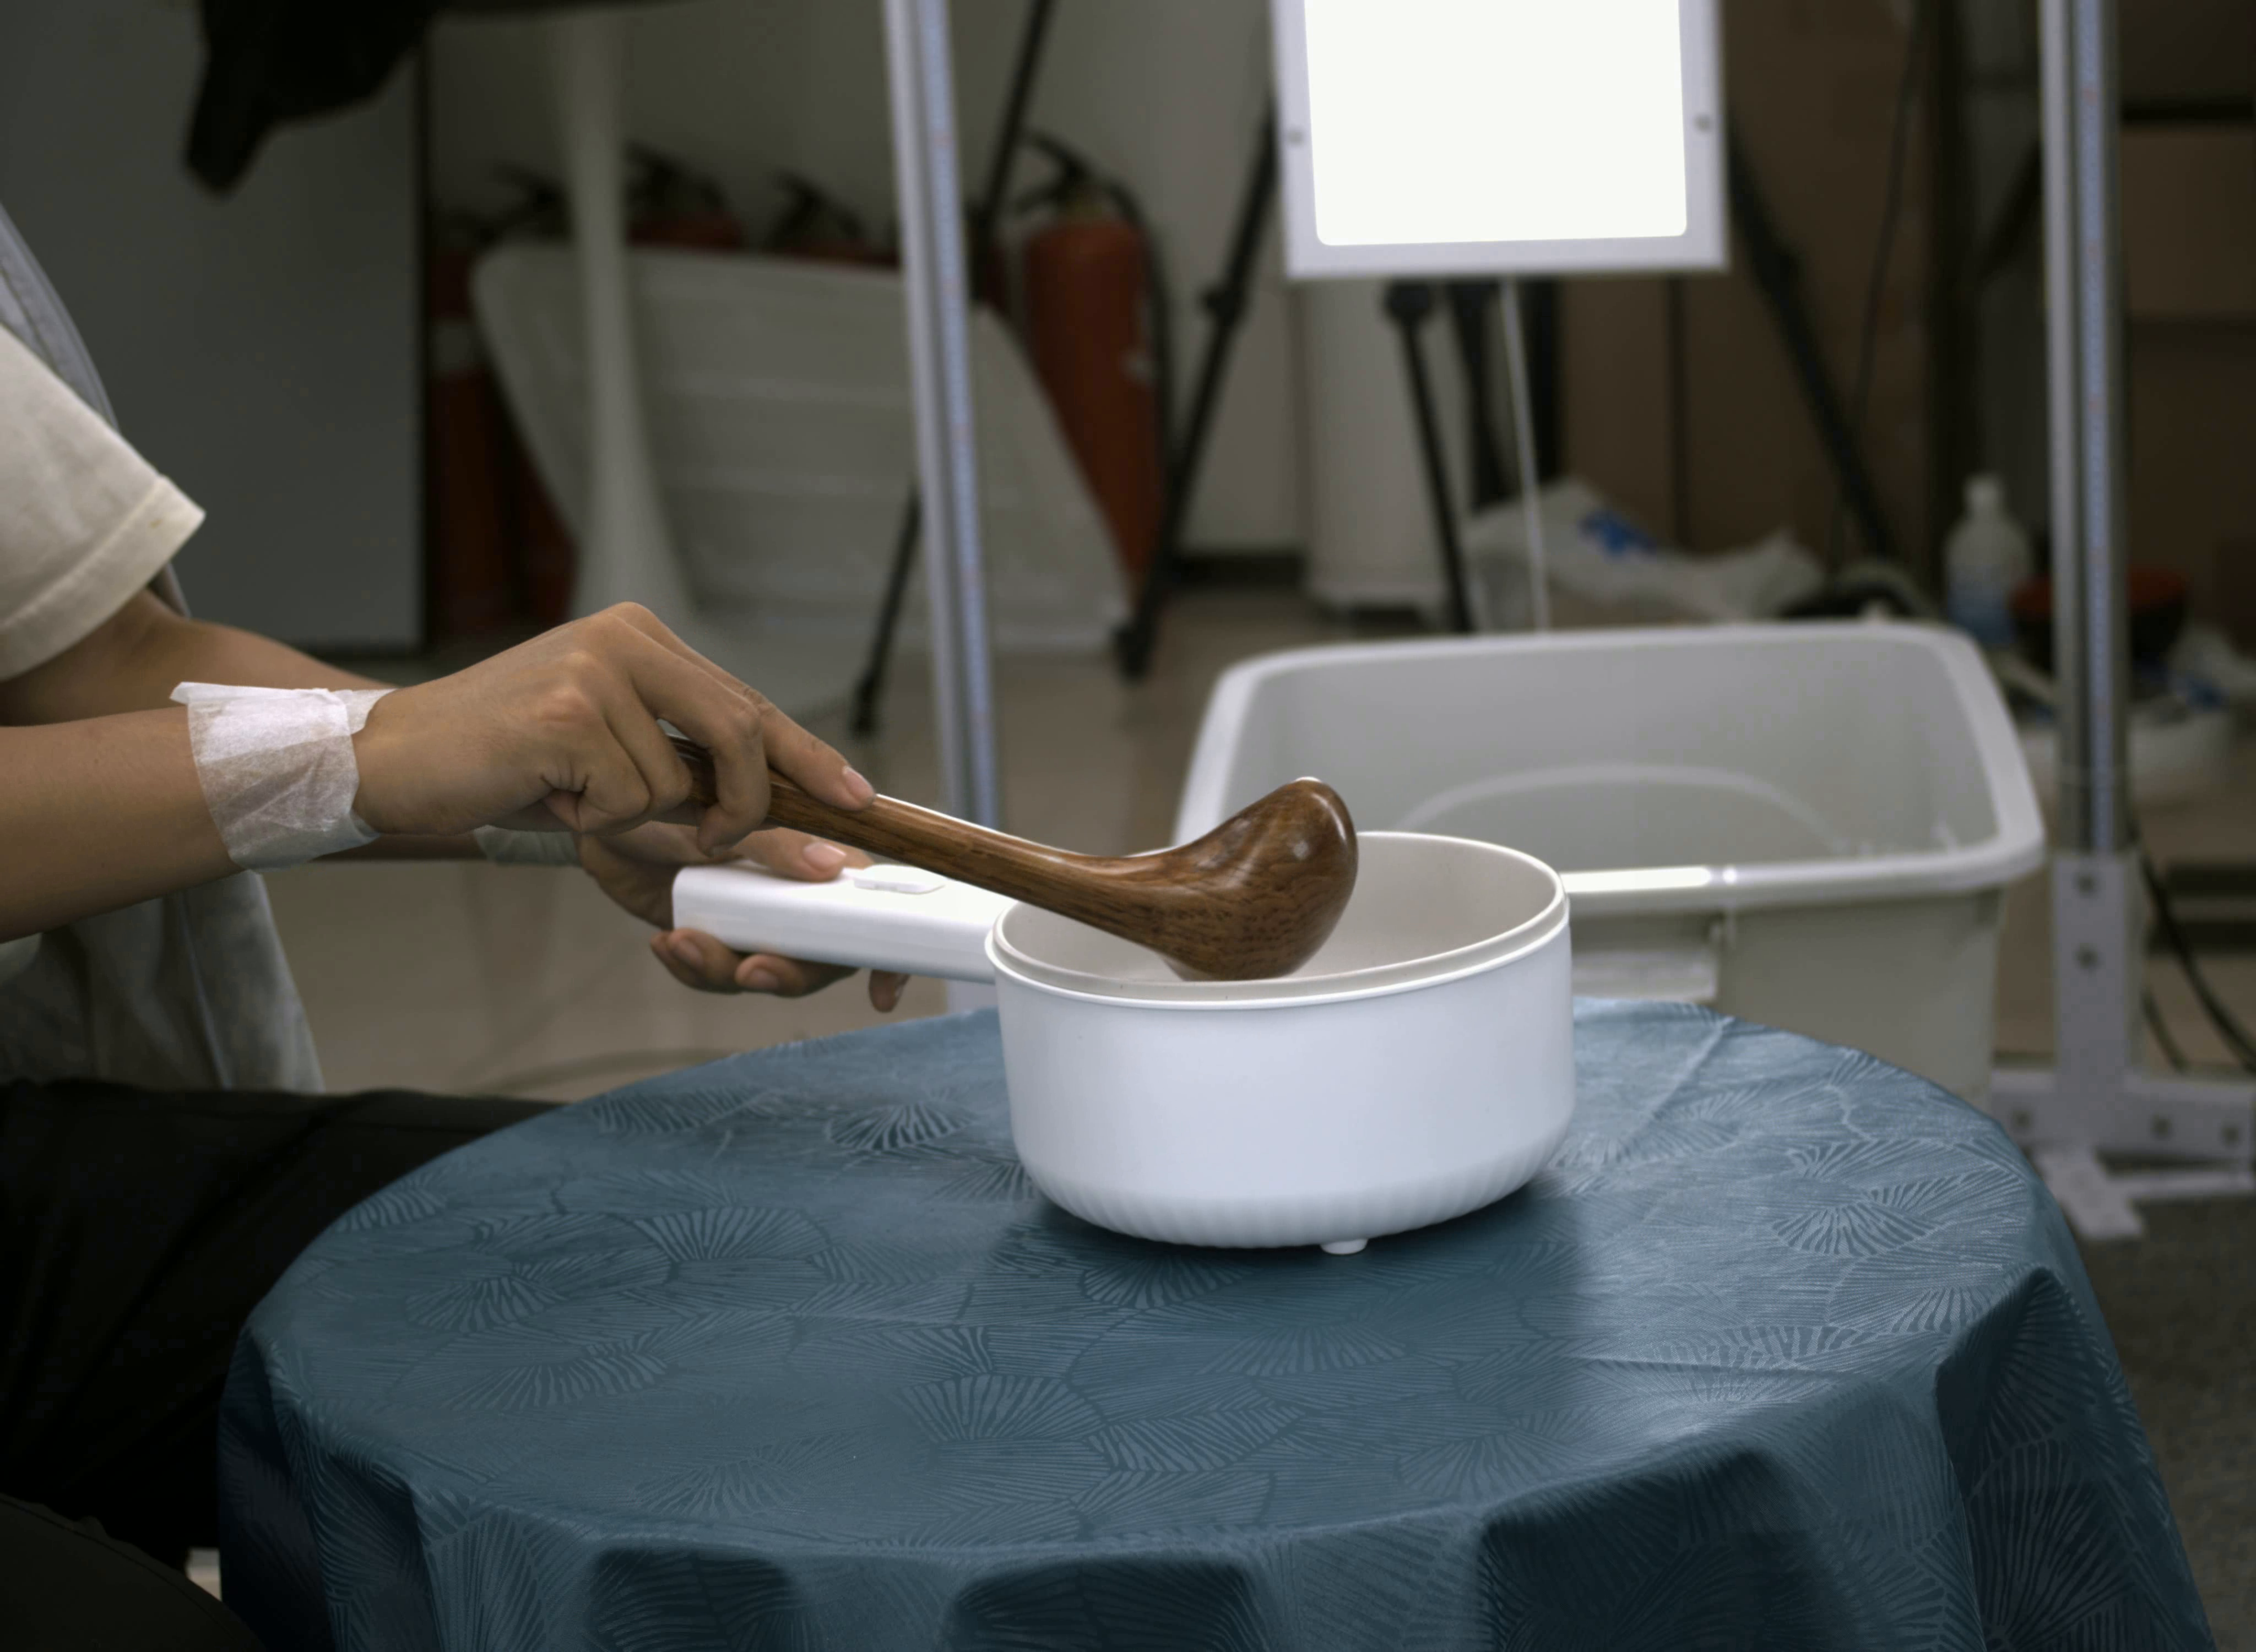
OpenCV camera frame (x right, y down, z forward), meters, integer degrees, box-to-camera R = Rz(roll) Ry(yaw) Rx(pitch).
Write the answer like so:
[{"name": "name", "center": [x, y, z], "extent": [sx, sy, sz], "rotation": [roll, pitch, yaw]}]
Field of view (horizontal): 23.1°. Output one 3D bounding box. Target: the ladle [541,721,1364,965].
[{"name": "ladle", "center": [-0.054, -0.008, 1.798], "extent": [0.272, 0.083, 0.076], "rotation": [14, 24, -5]}]

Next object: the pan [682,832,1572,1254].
[{"name": "pan", "center": [-0.008, 0.070, 1.922], "extent": [0.362, 0.102, 0.196], "rotation": [5, 17, 37]}]
